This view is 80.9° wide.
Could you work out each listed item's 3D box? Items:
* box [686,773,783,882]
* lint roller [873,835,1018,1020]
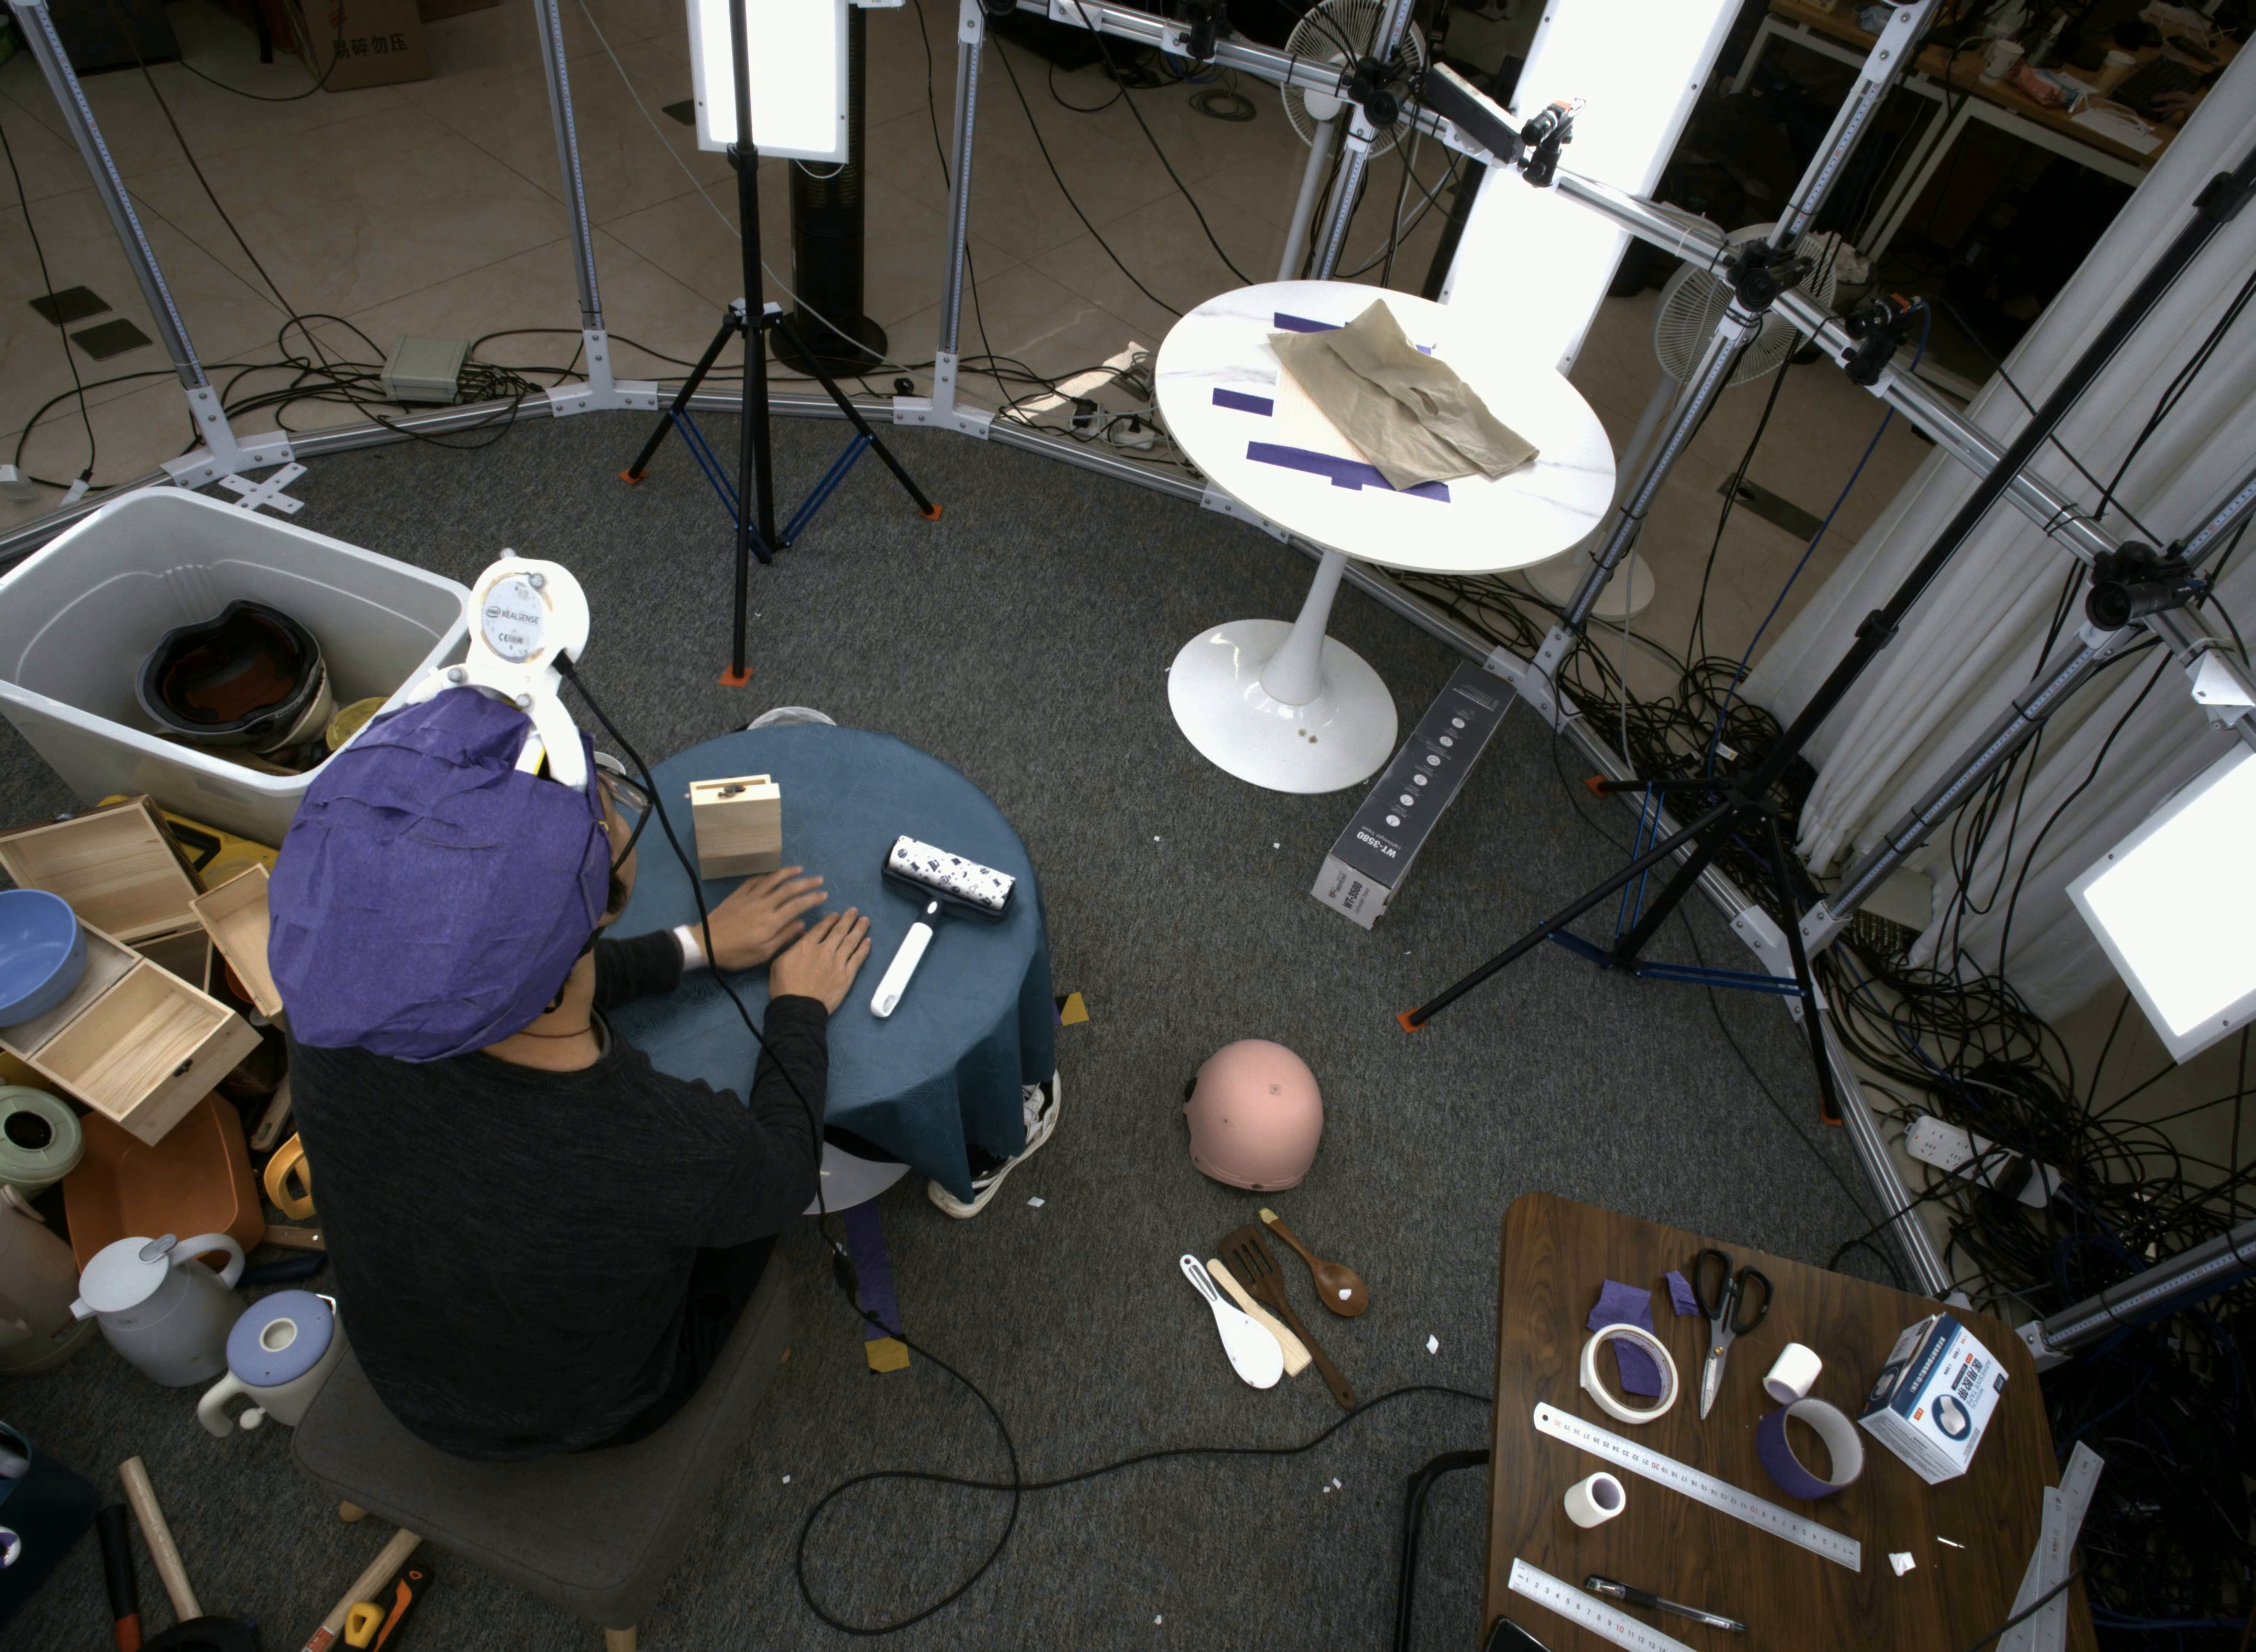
[{"bbox_3d":[-0.490,-0.025,1.602,0.103,0.188,0.131,-9,56,-18],"label":"box"},{"bbox_3d":[-0.259,0.133,1.635,0.175,0.051,0.244,21,52,1],"label":"lint roller"}]
